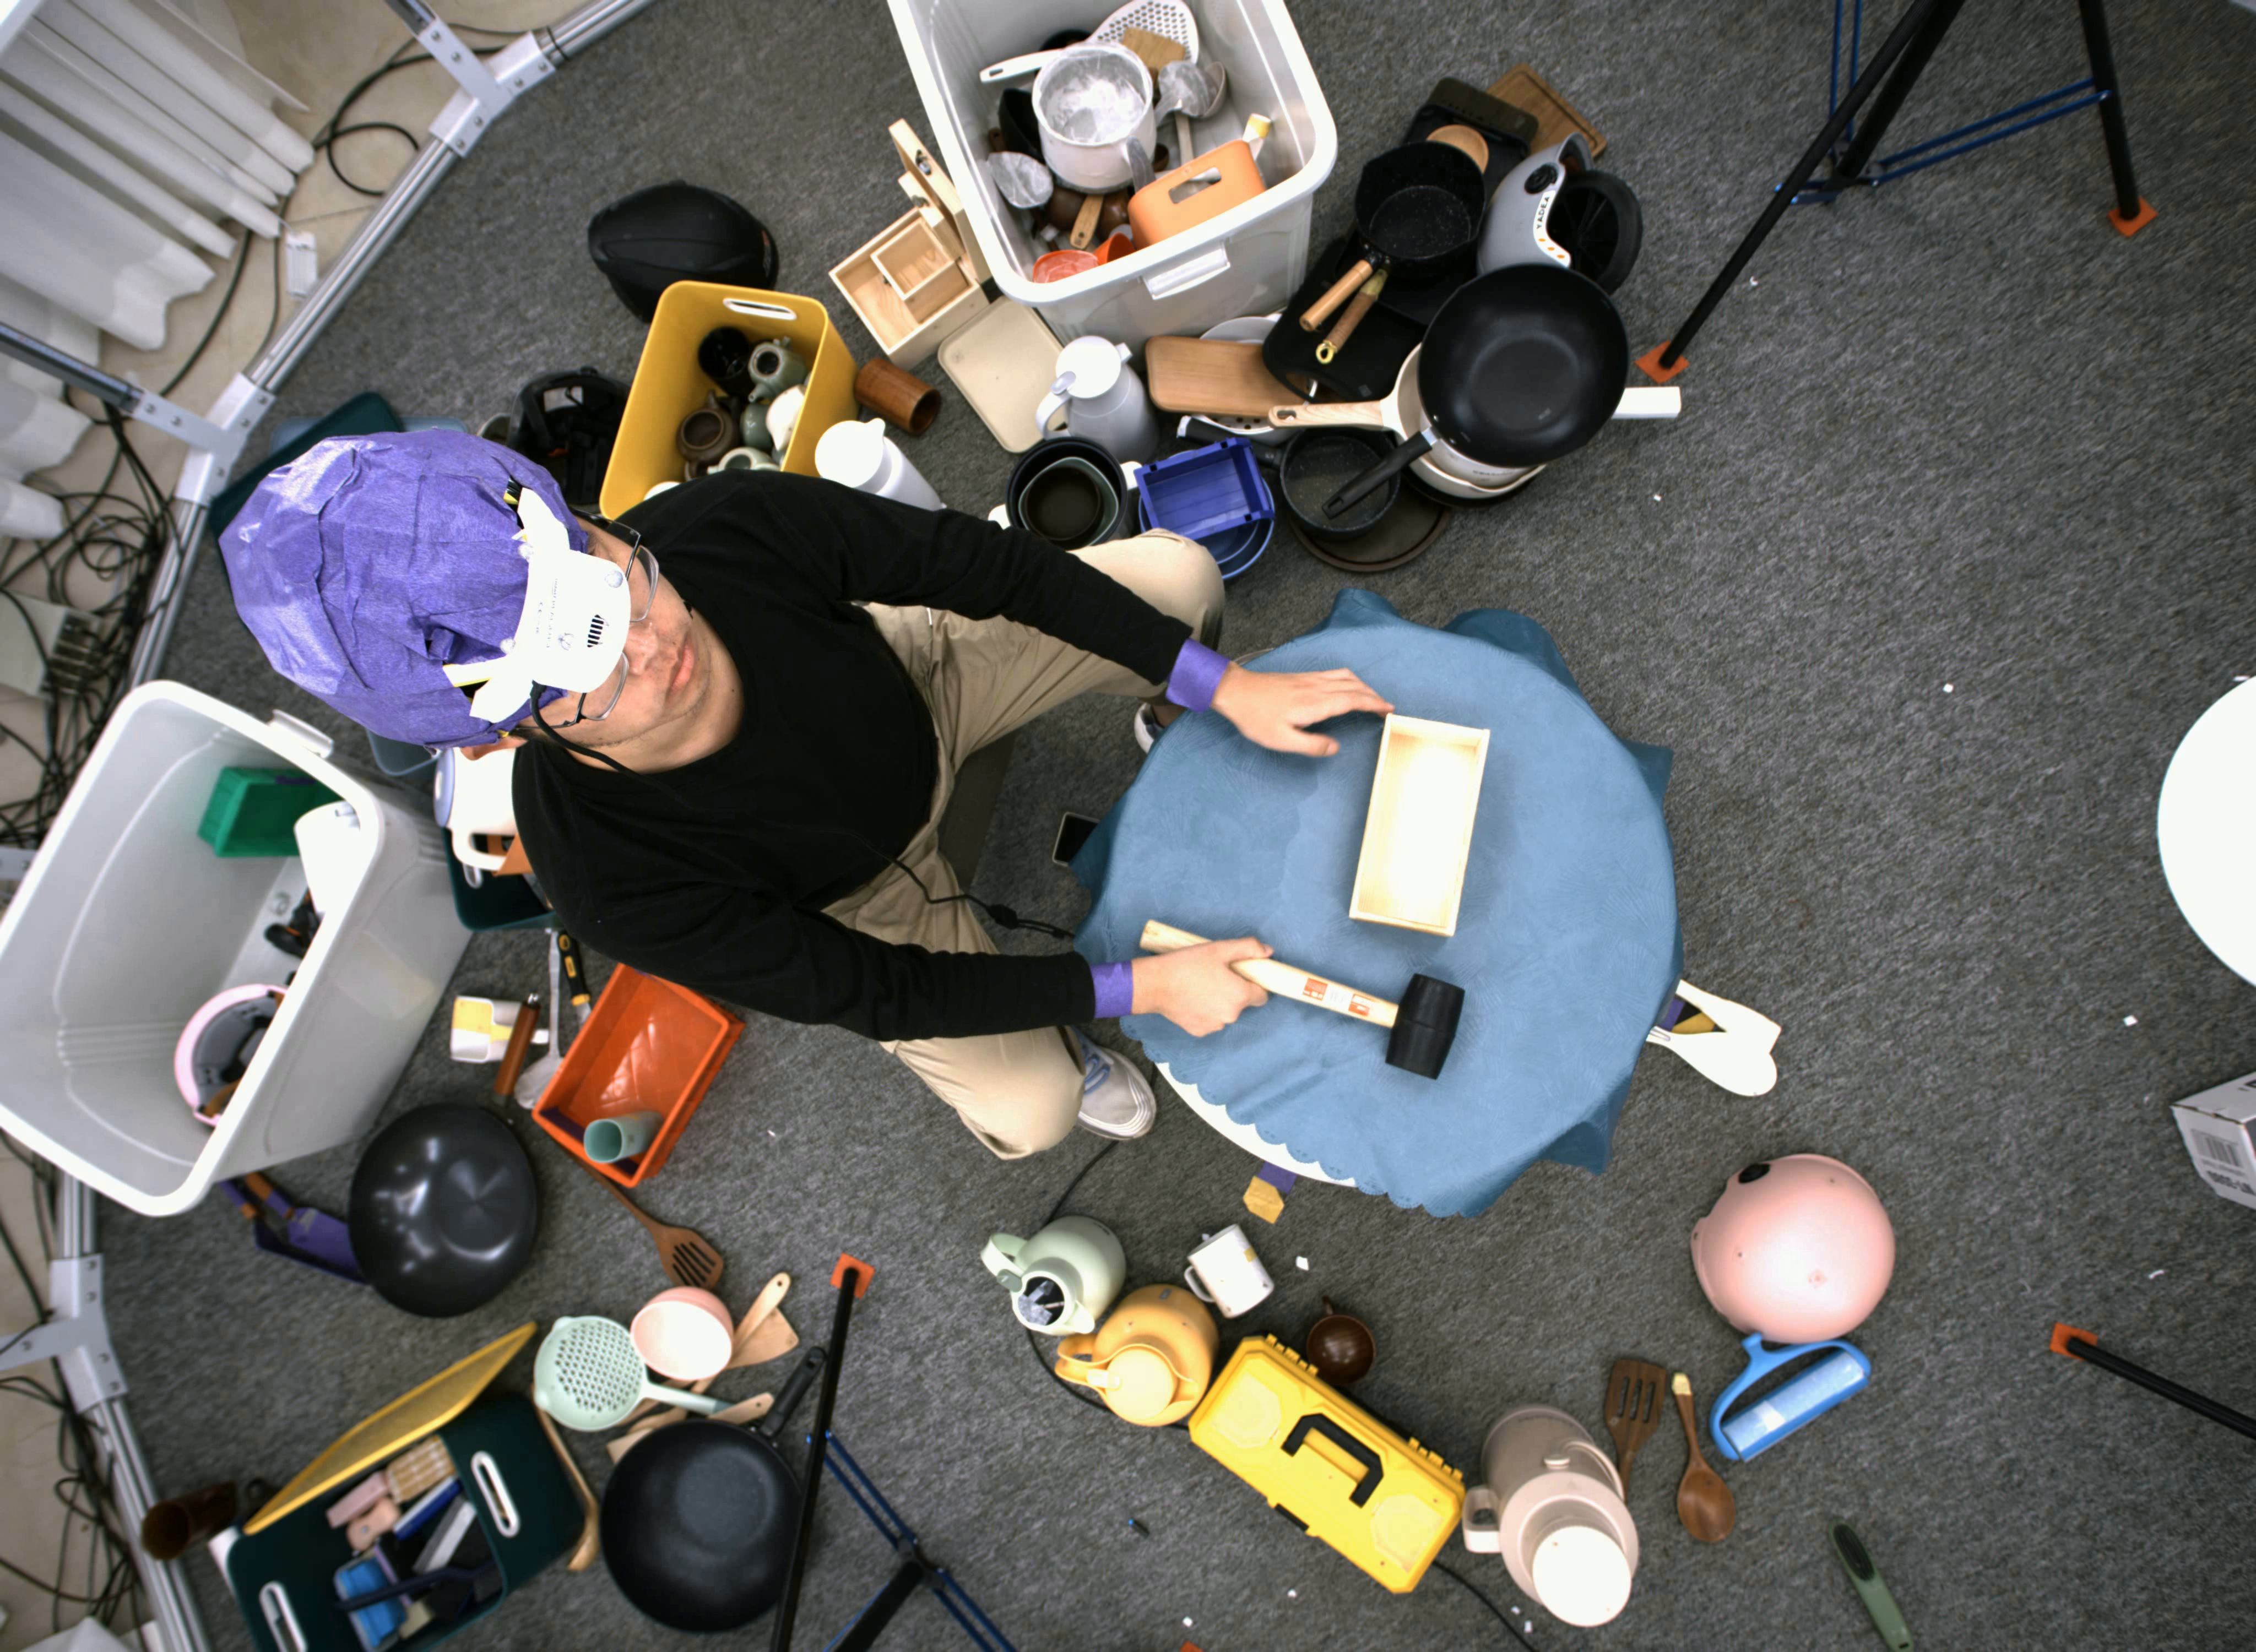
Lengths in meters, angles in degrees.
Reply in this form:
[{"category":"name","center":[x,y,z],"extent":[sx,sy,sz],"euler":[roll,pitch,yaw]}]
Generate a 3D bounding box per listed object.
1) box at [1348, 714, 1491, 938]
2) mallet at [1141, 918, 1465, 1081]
[{"category":"box","center":[0.299,0.000,1.419],"extent":[0.108,0.080,0.211],"euler":[11,89,12]},{"category":"mallet","center":[0.175,0.162,1.437],"extent":[0.339,0.065,0.101],"euler":[19,83,9]}]
